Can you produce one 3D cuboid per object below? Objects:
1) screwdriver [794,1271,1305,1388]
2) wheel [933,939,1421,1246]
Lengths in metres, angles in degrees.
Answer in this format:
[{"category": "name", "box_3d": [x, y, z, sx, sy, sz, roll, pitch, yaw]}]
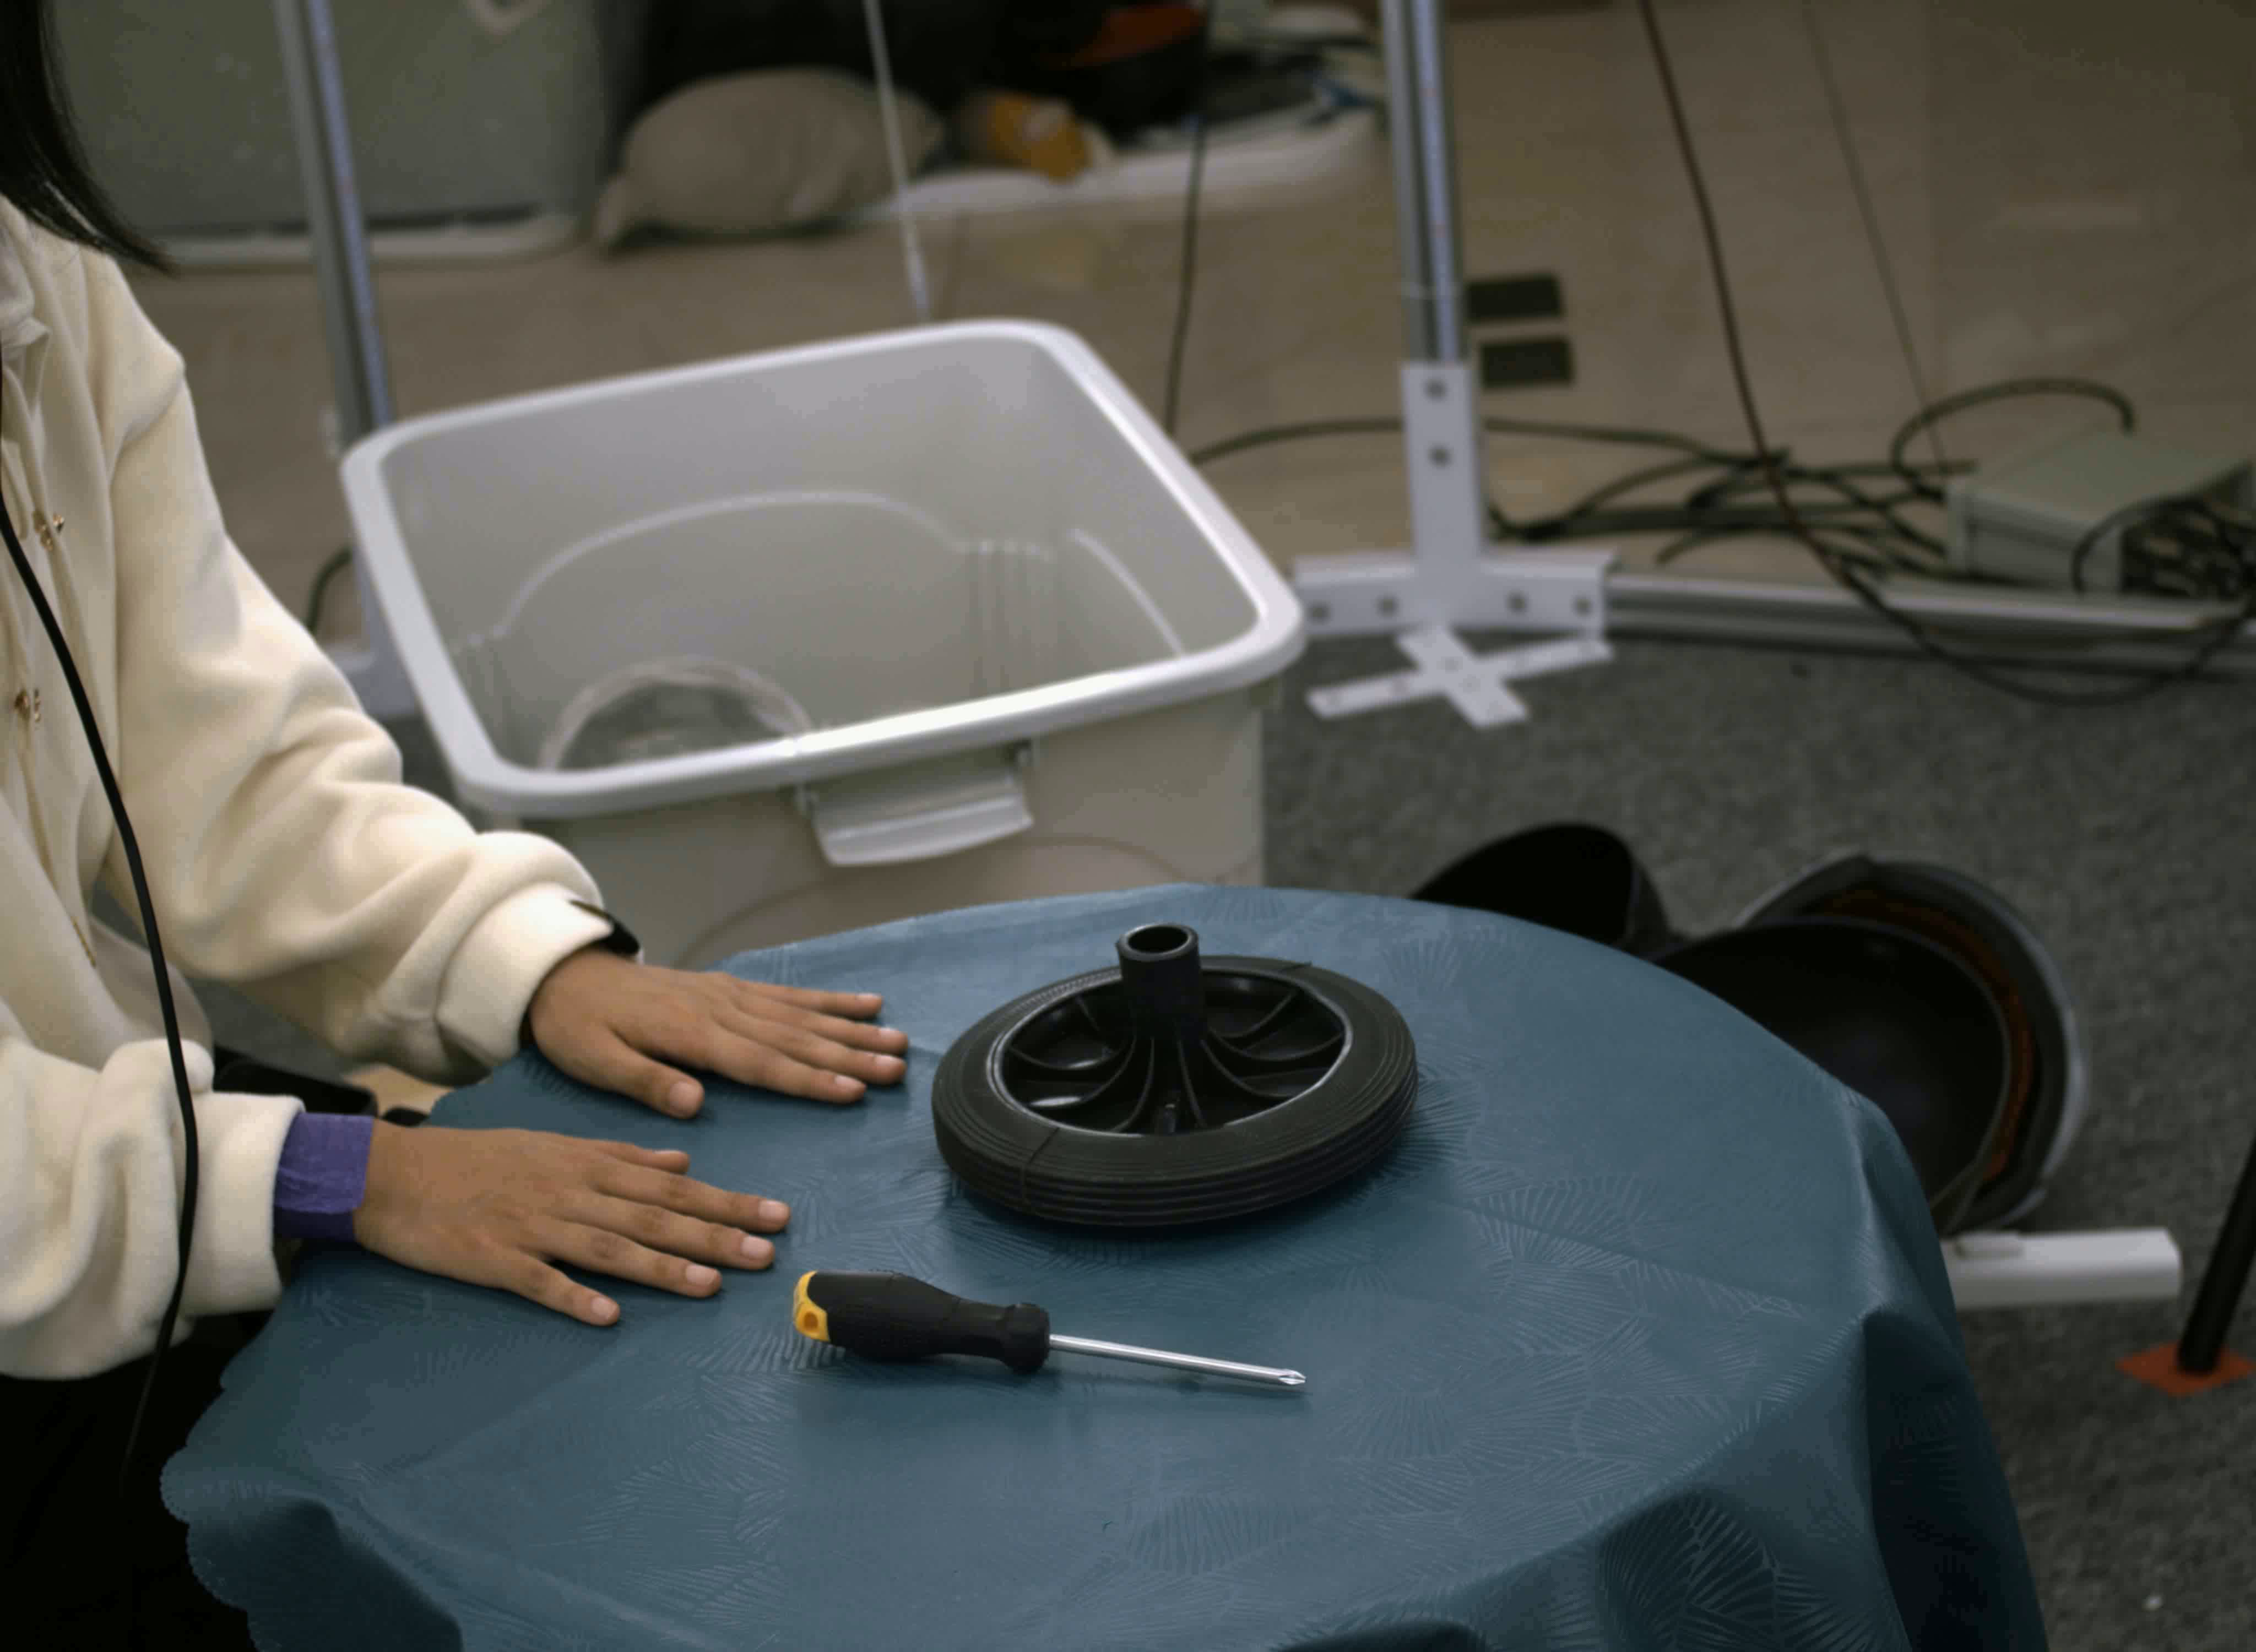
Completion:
[{"category": "screwdriver", "box_3d": [-0.028, 0.182, 2.034, 0.195, 0.032, 0.031, 5, 27, 18]}, {"category": "wheel", "box_3d": [0.017, 0.085, 2.170, 0.187, 0.080, 0.187, -13, 29, -13]}]
